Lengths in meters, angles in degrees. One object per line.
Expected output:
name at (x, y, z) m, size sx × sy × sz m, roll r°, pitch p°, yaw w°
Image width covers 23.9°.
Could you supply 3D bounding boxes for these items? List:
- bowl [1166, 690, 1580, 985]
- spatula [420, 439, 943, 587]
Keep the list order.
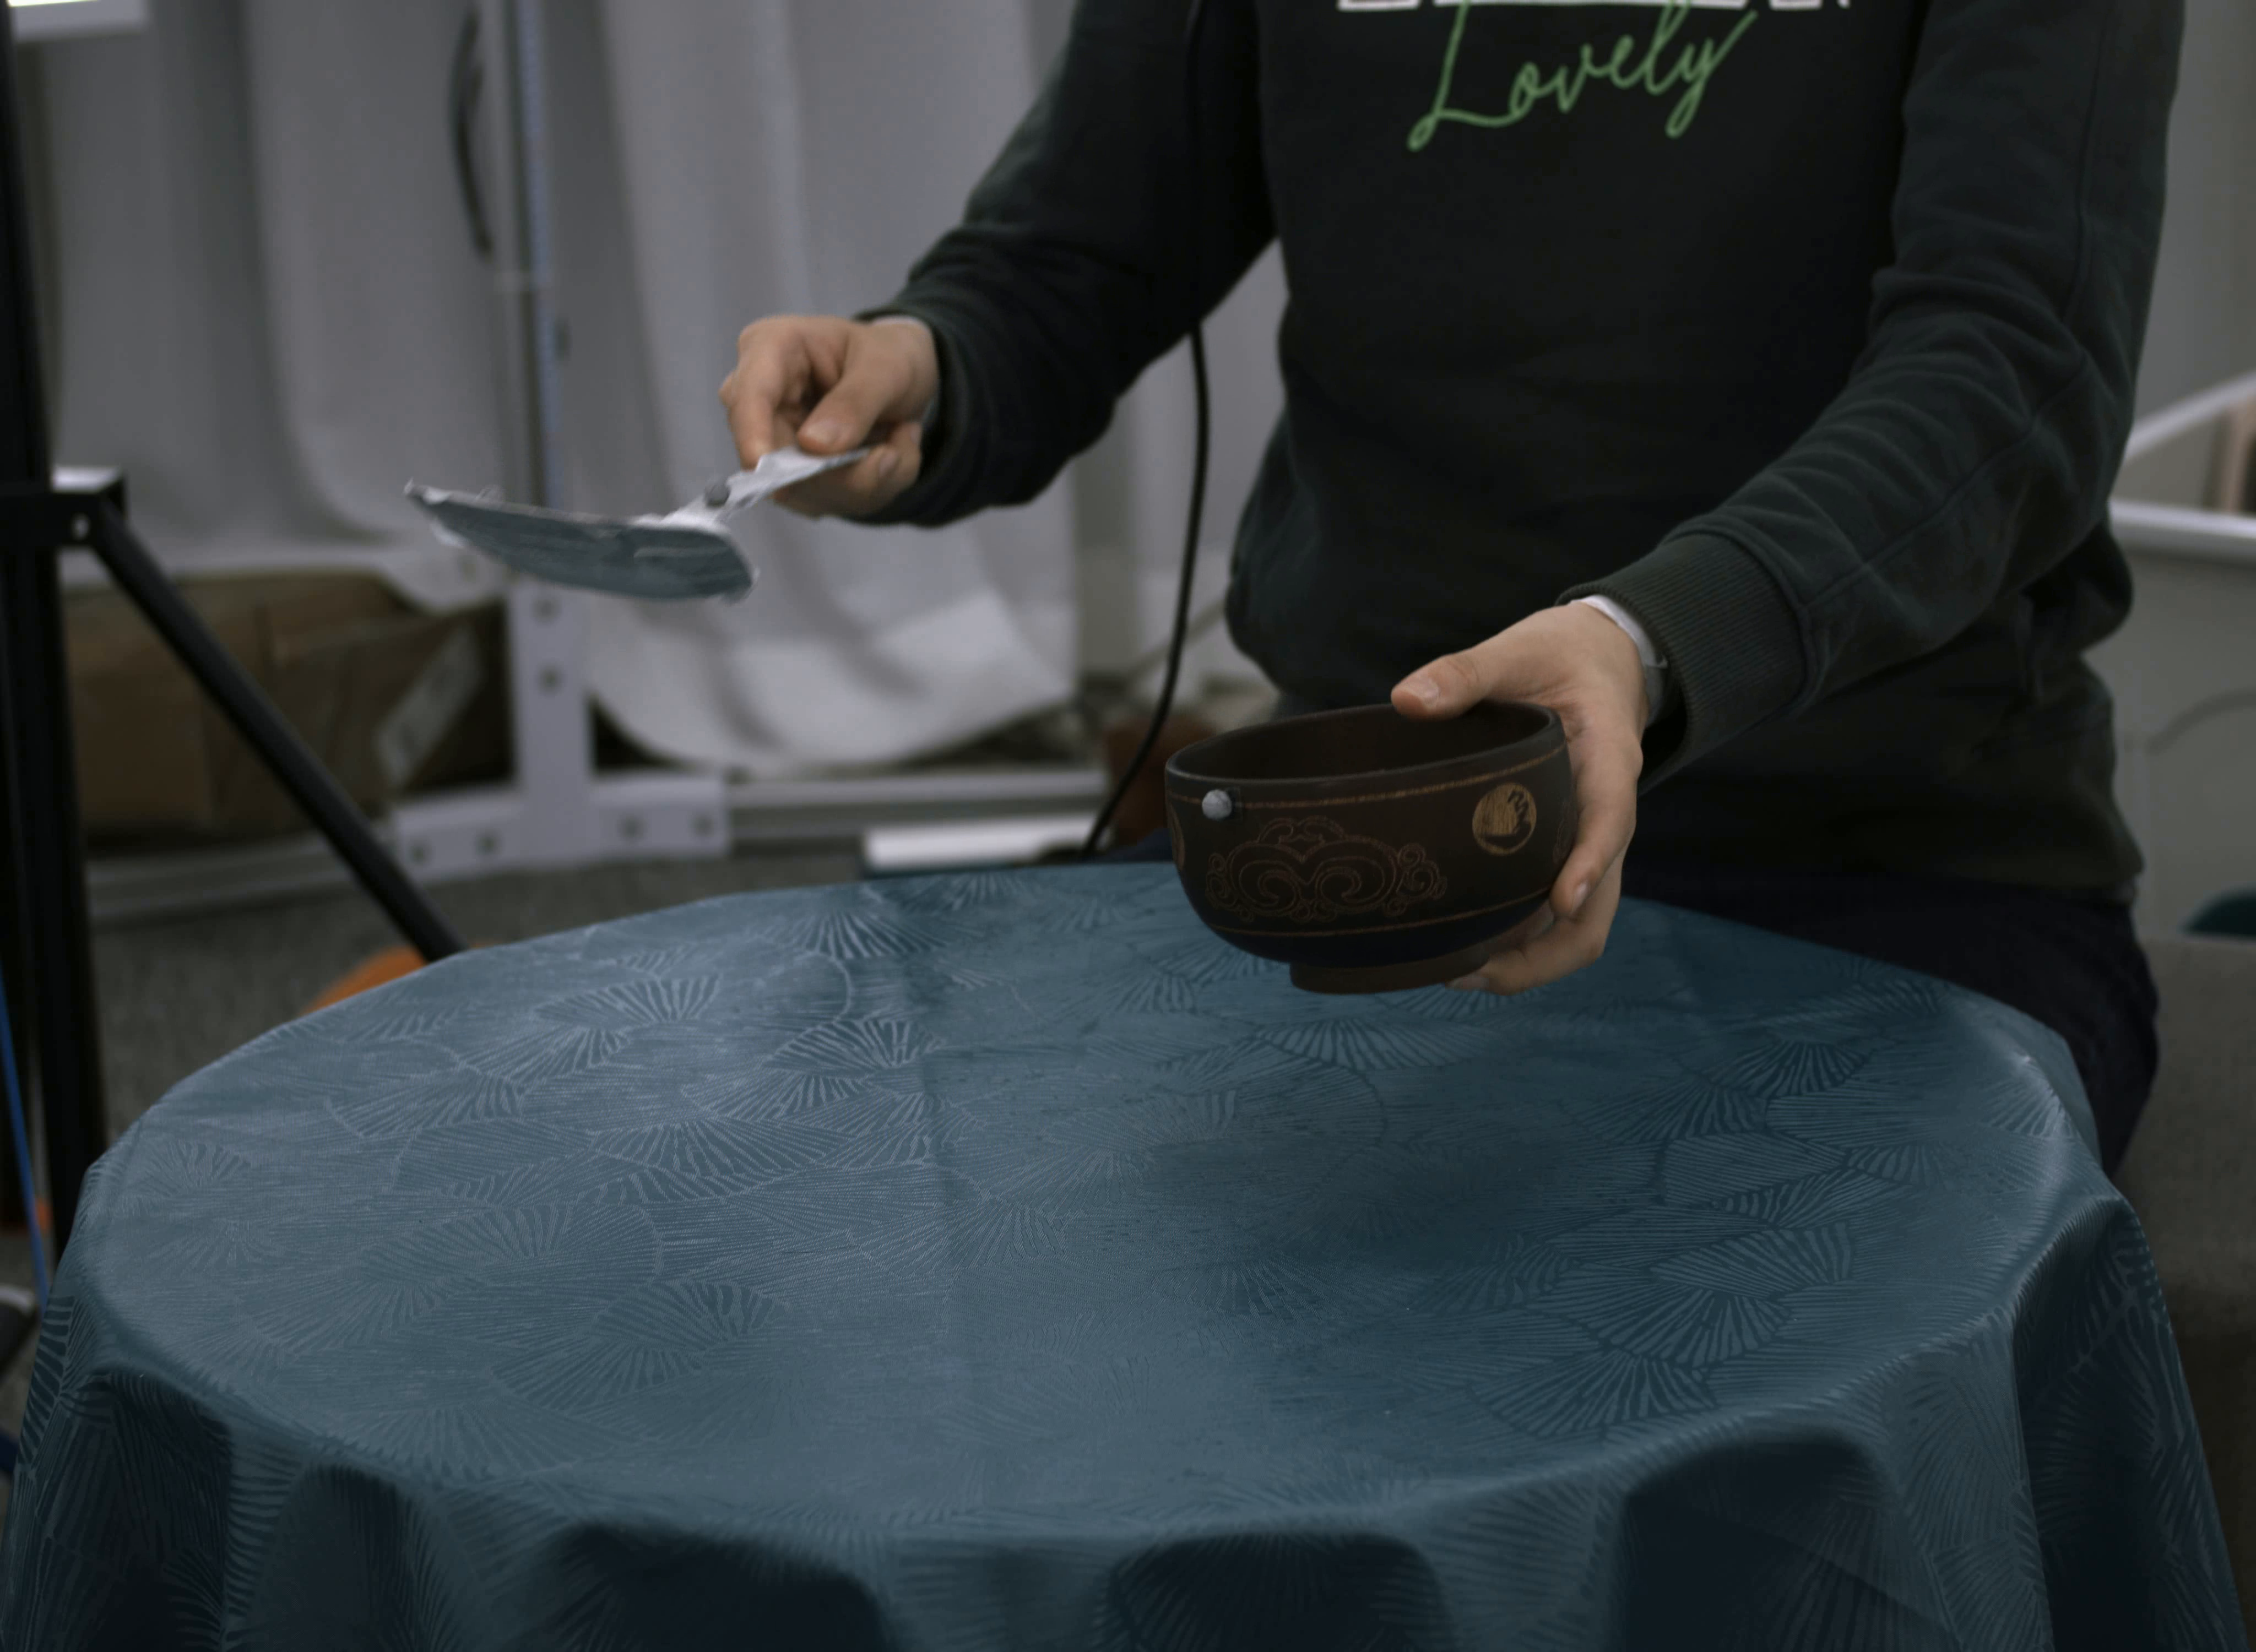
bowl at (0.072, 0.006, 1.516) m, size 0.117 × 0.070 × 0.118 m, roll -6°, pitch 9°, yaw 0°
spatula at (-0.118, -0.111, 1.679) m, size 0.099 × 0.045 × 0.361 m, roll 6°, pitch 13°, yaw 13°
